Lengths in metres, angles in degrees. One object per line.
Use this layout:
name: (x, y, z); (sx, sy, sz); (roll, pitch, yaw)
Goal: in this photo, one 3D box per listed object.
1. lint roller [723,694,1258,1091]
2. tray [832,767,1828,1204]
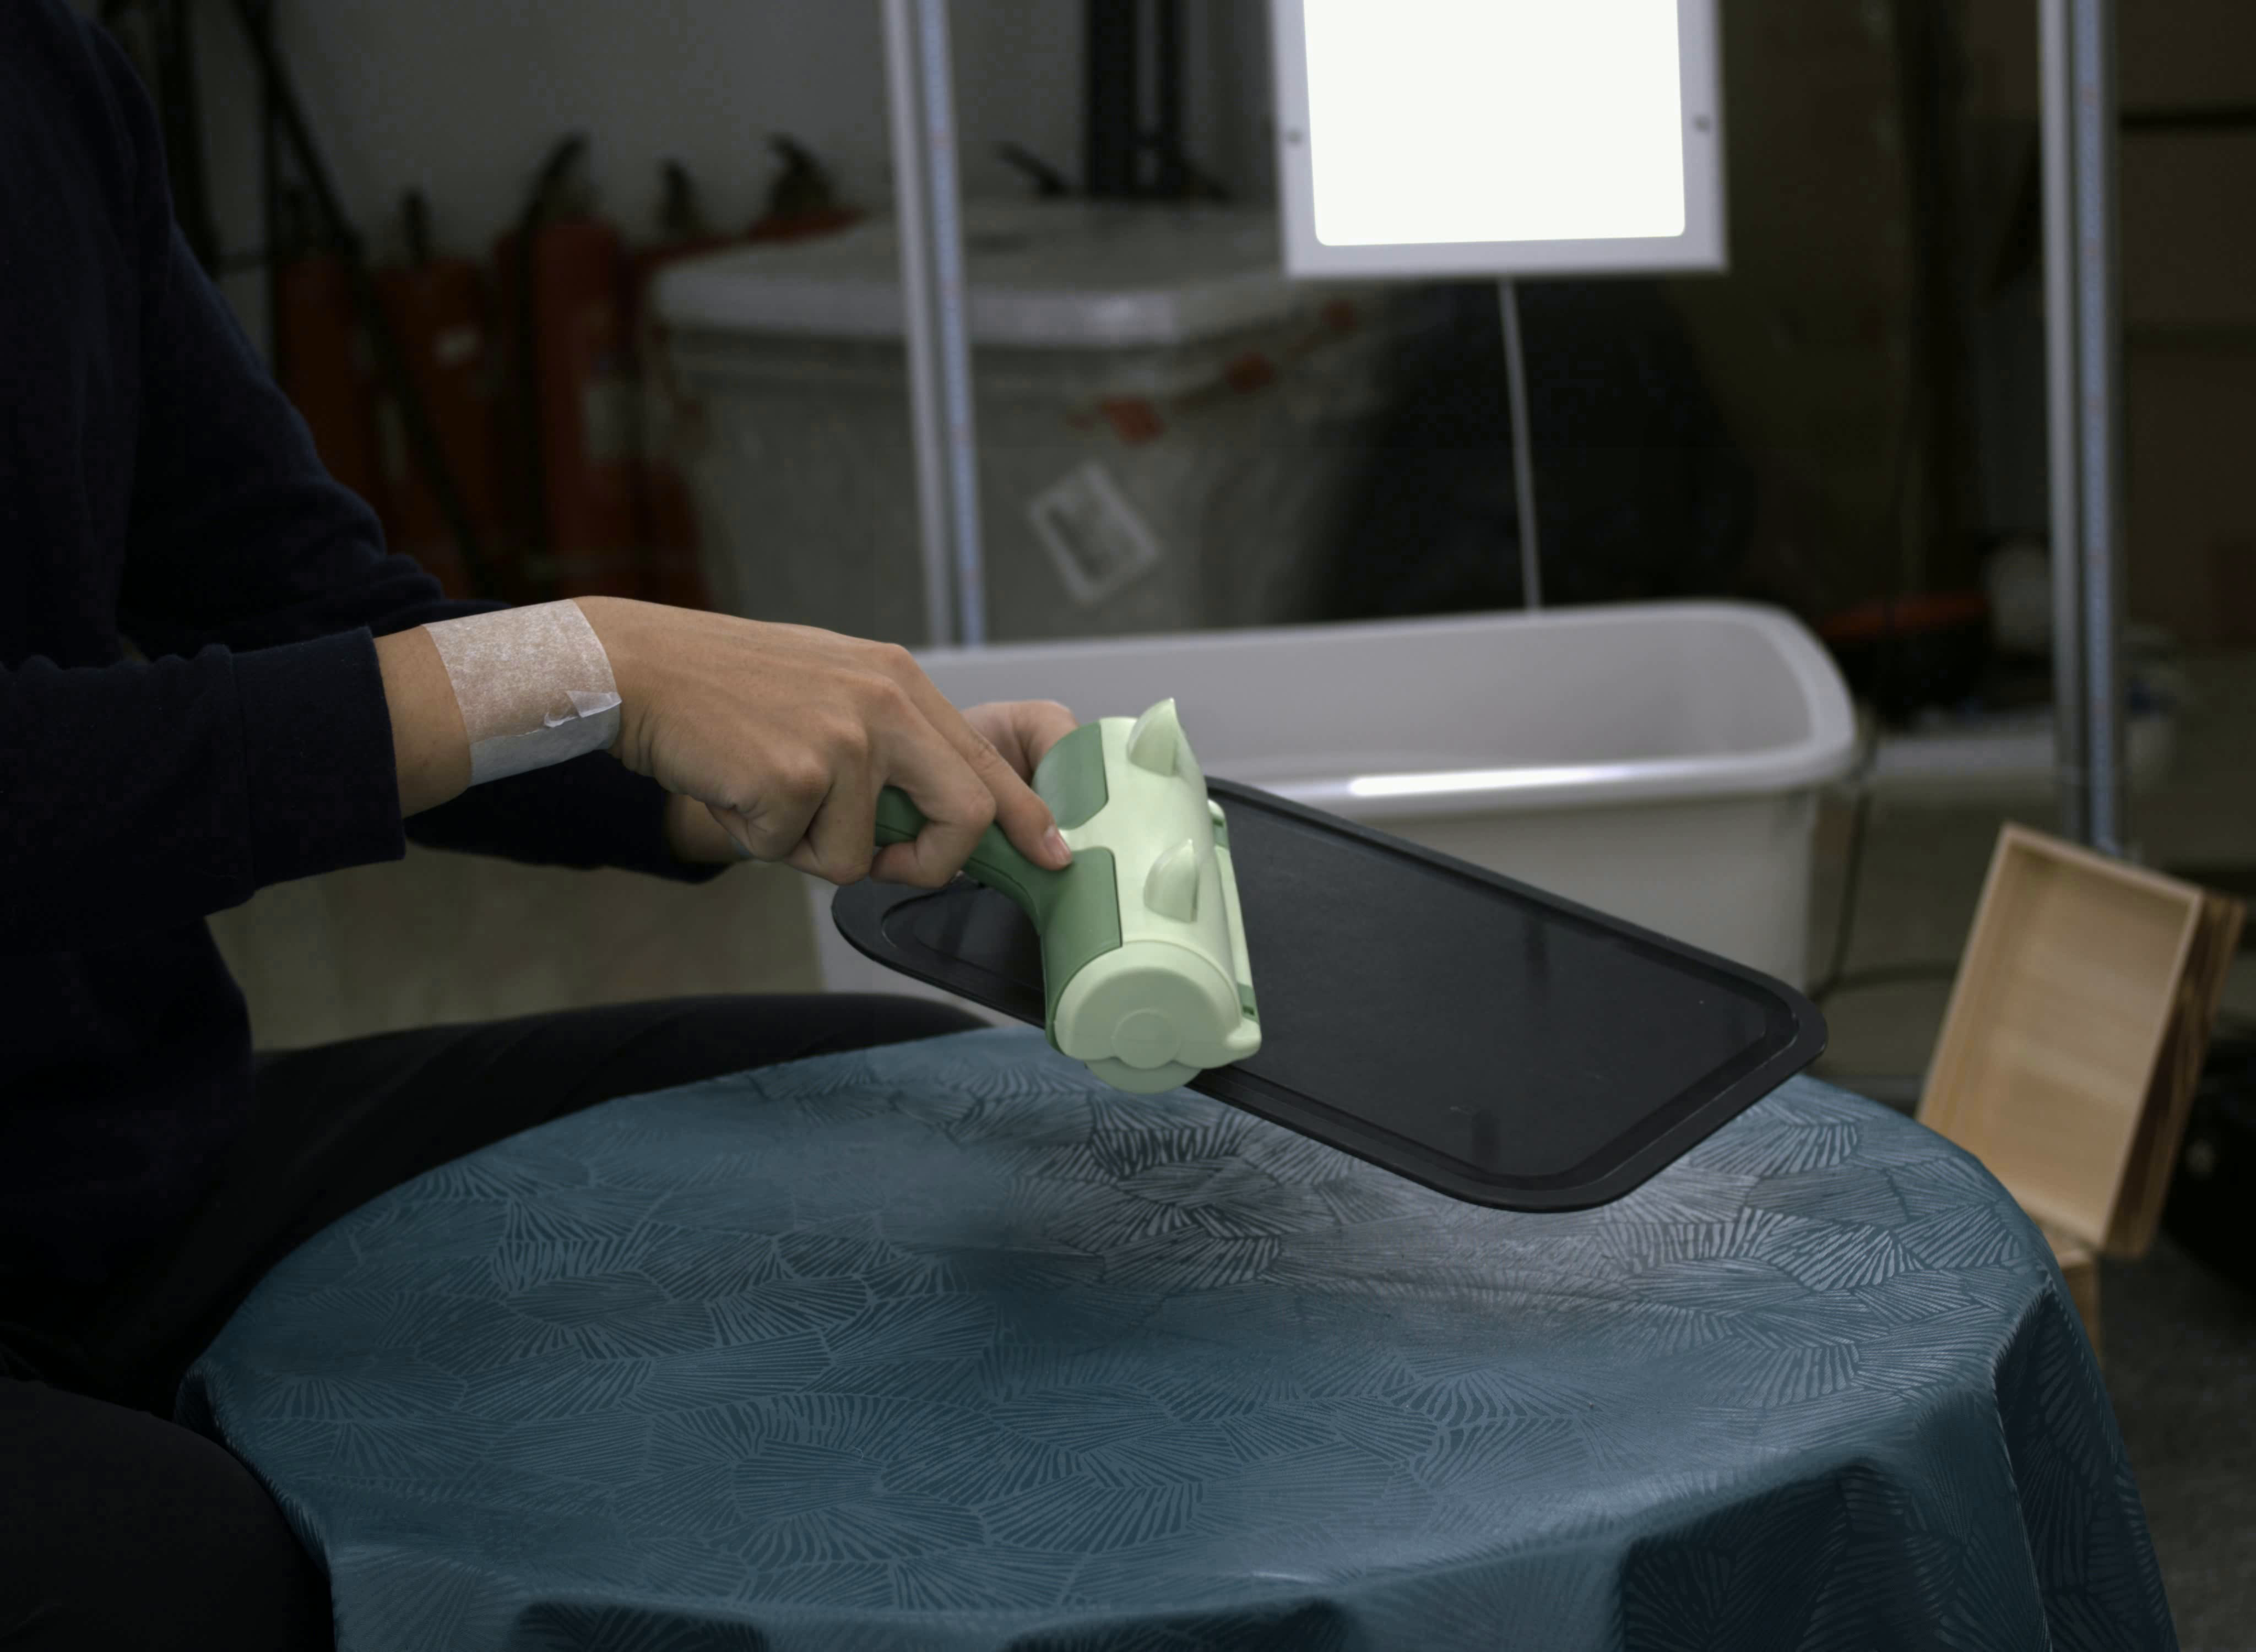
lint roller: (-0.039, -0.012, 1.806); (0.181, 0.083, 0.198); (33, 19, -16)
tray: (0.060, 0.044, 1.848); (0.331, 0.010, 0.206); (21, 29, 31)
